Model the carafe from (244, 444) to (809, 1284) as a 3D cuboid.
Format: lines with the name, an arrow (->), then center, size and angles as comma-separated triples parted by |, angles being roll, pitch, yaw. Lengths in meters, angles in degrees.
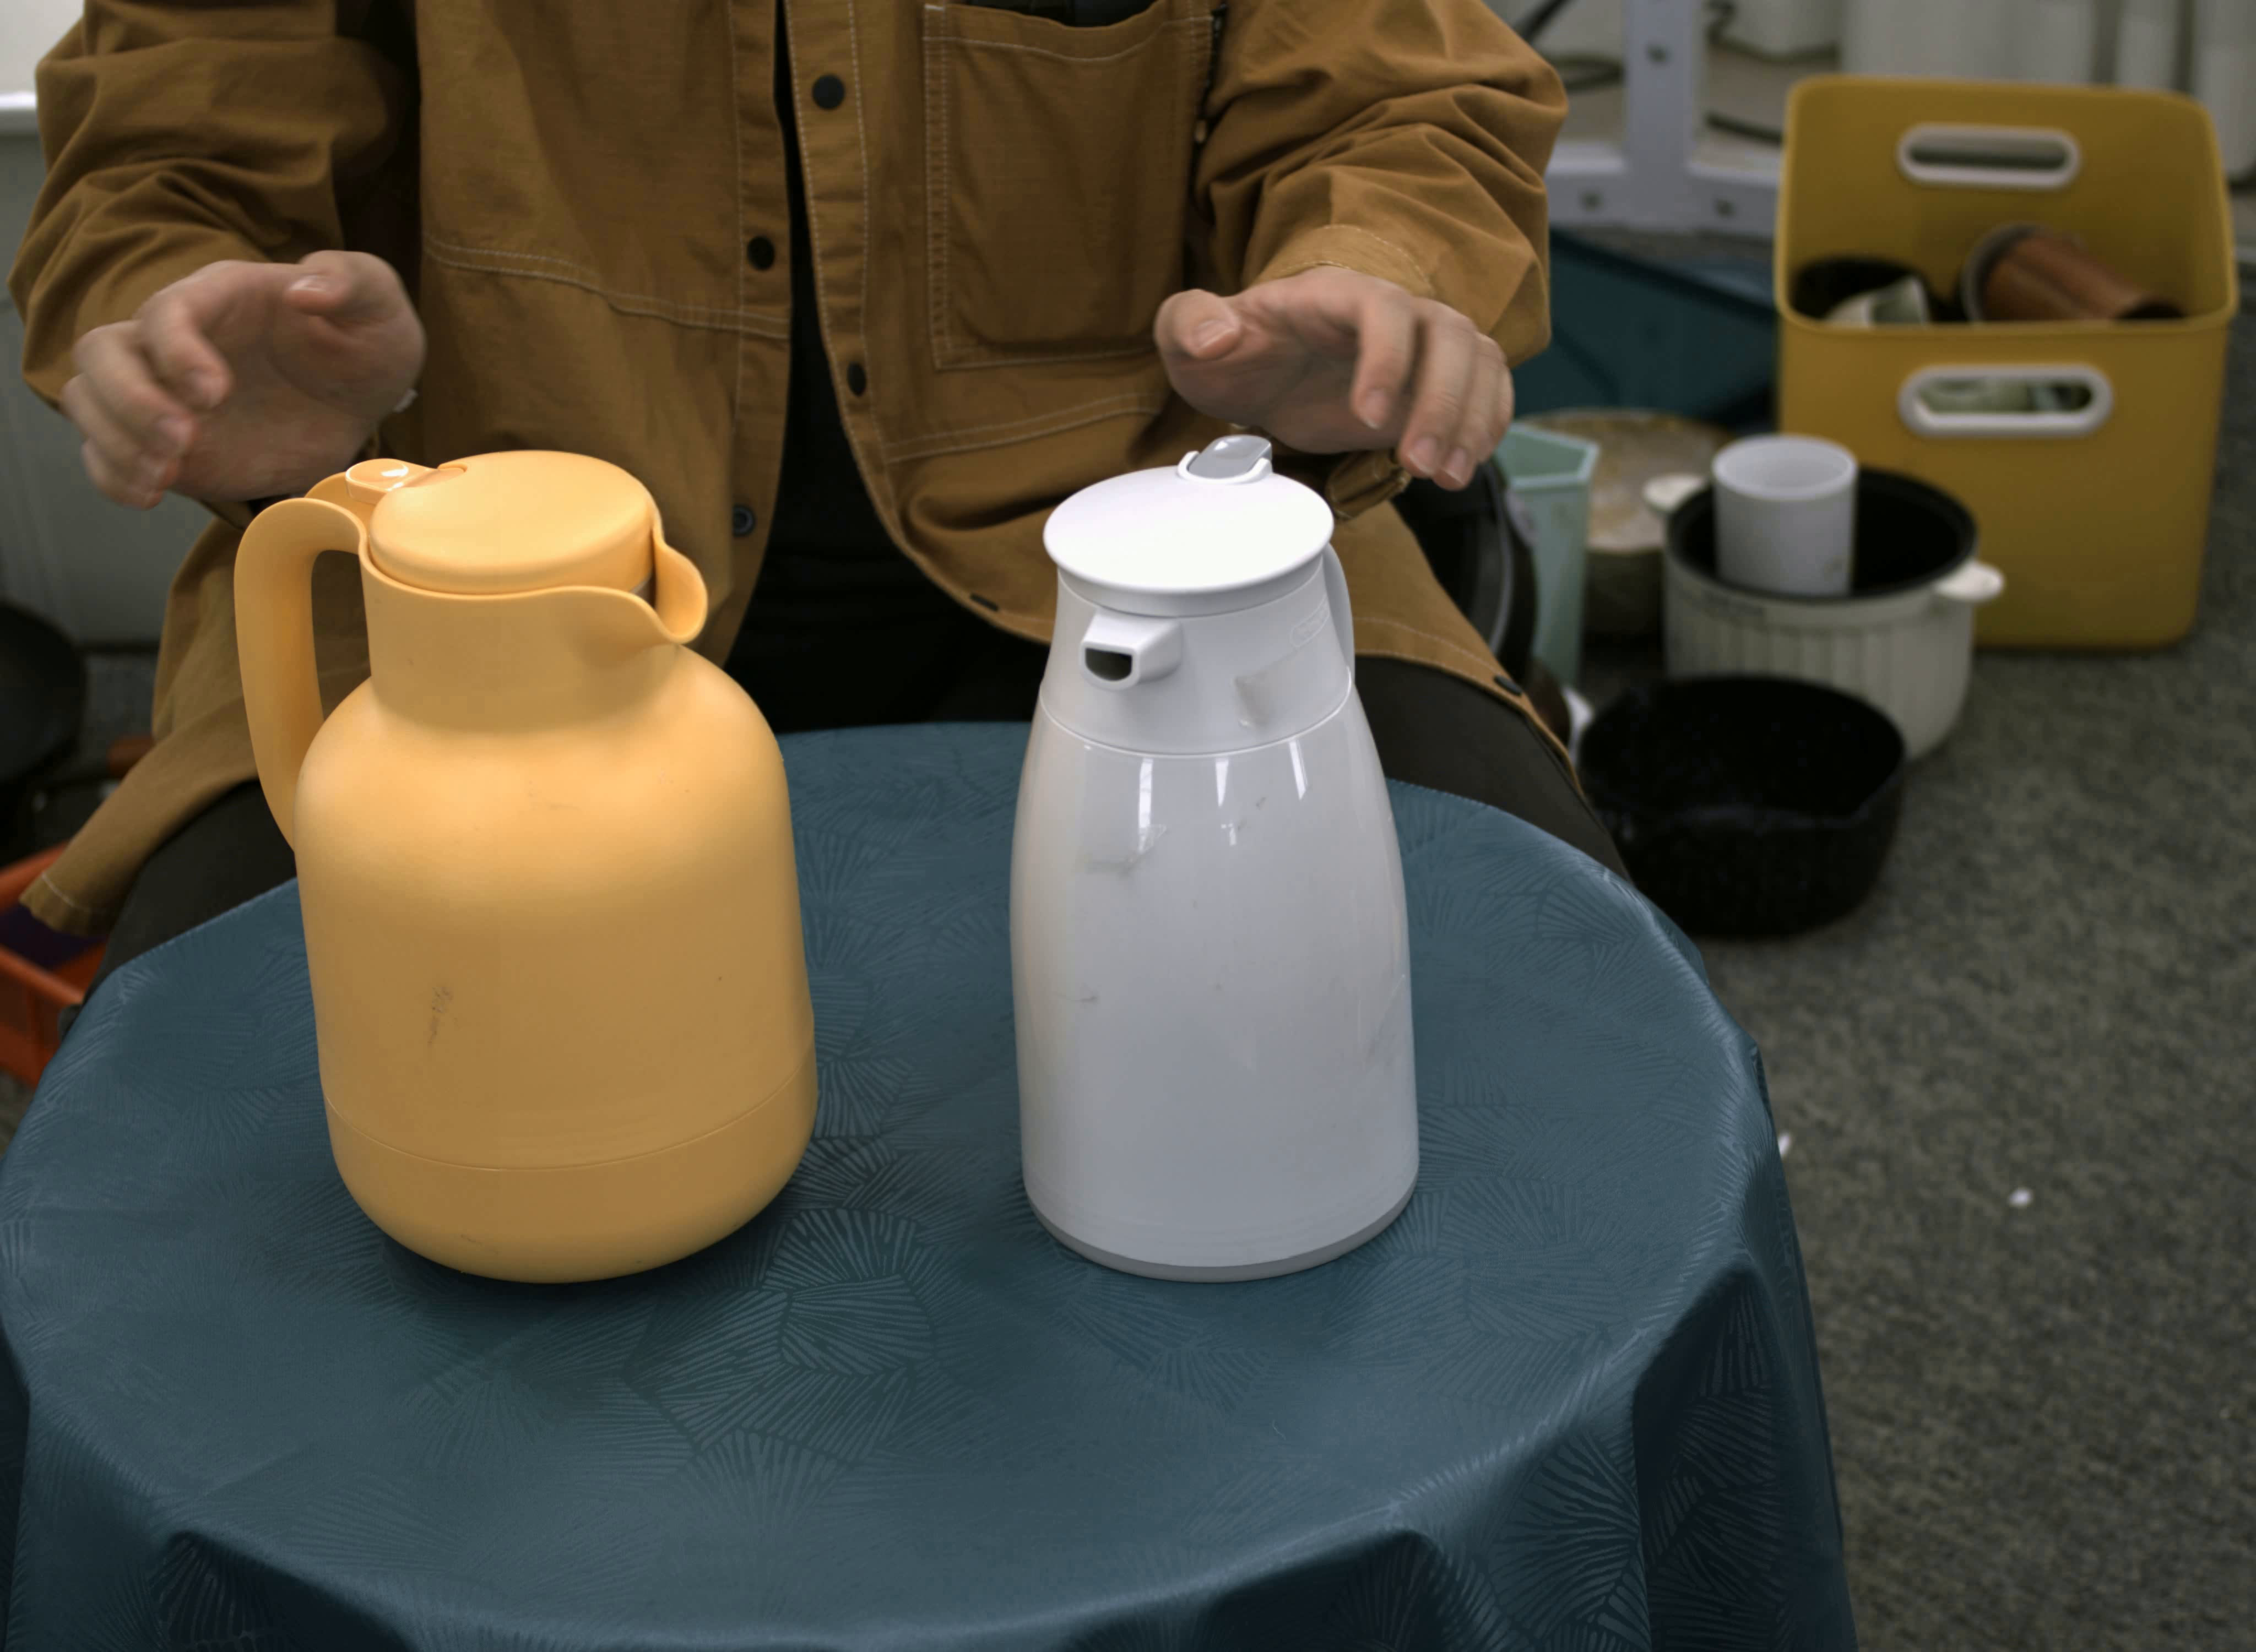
carafe -> -0.203, 0.002, 1.831 | 0.202, 0.258, 0.165 | 19, 32, 35

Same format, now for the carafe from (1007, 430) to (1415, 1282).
carafe -> 0.031, -0.001, 1.827 | 0.131, 0.246, 0.170 | 8, 28, 22
